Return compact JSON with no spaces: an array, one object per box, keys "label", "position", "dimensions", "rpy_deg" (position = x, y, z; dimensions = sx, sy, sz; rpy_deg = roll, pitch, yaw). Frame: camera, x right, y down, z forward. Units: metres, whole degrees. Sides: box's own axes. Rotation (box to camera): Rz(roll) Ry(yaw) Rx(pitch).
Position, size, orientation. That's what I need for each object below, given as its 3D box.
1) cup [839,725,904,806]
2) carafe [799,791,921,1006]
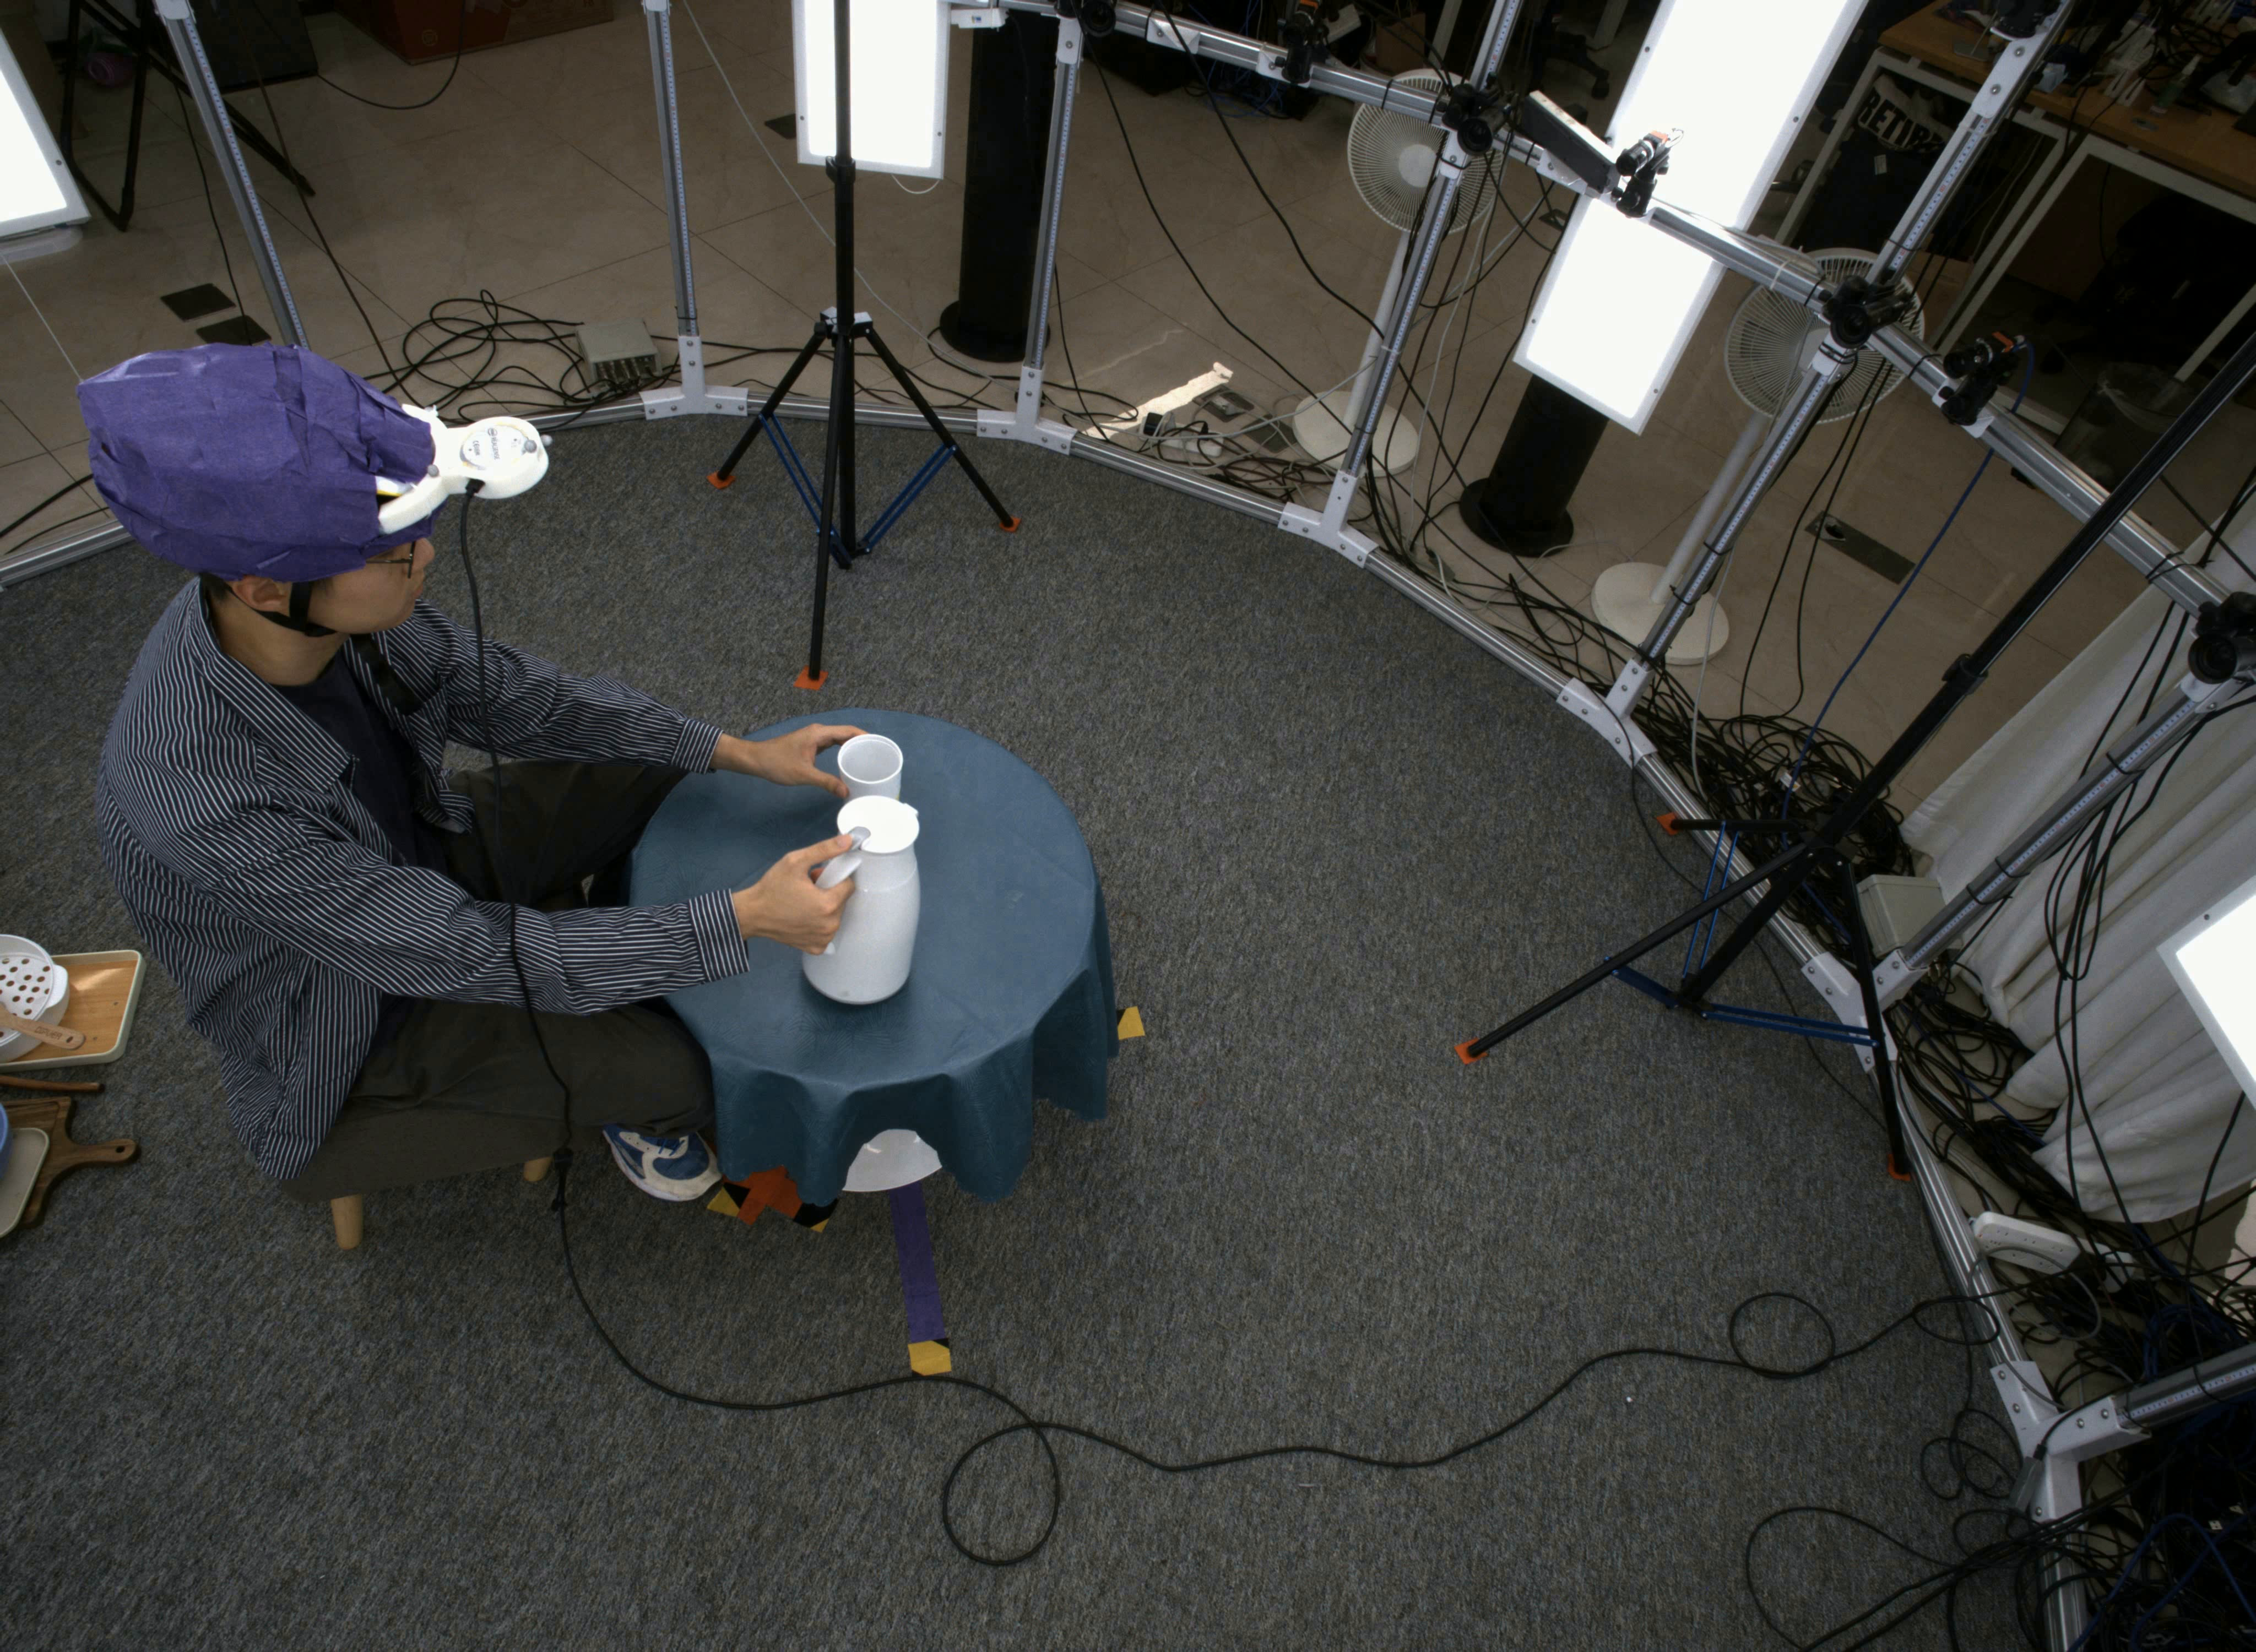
[{"label":"cup","position":[-0.333,-0.060,1.697],"dimensions":[0.081,0.128,0.080],"rpy_deg":[5,51,-5]},{"label":"carafe","position":[-0.314,0.088,1.511],"dimensions":[0.130,0.253,0.167],"rpy_deg":[29,40,9]}]
